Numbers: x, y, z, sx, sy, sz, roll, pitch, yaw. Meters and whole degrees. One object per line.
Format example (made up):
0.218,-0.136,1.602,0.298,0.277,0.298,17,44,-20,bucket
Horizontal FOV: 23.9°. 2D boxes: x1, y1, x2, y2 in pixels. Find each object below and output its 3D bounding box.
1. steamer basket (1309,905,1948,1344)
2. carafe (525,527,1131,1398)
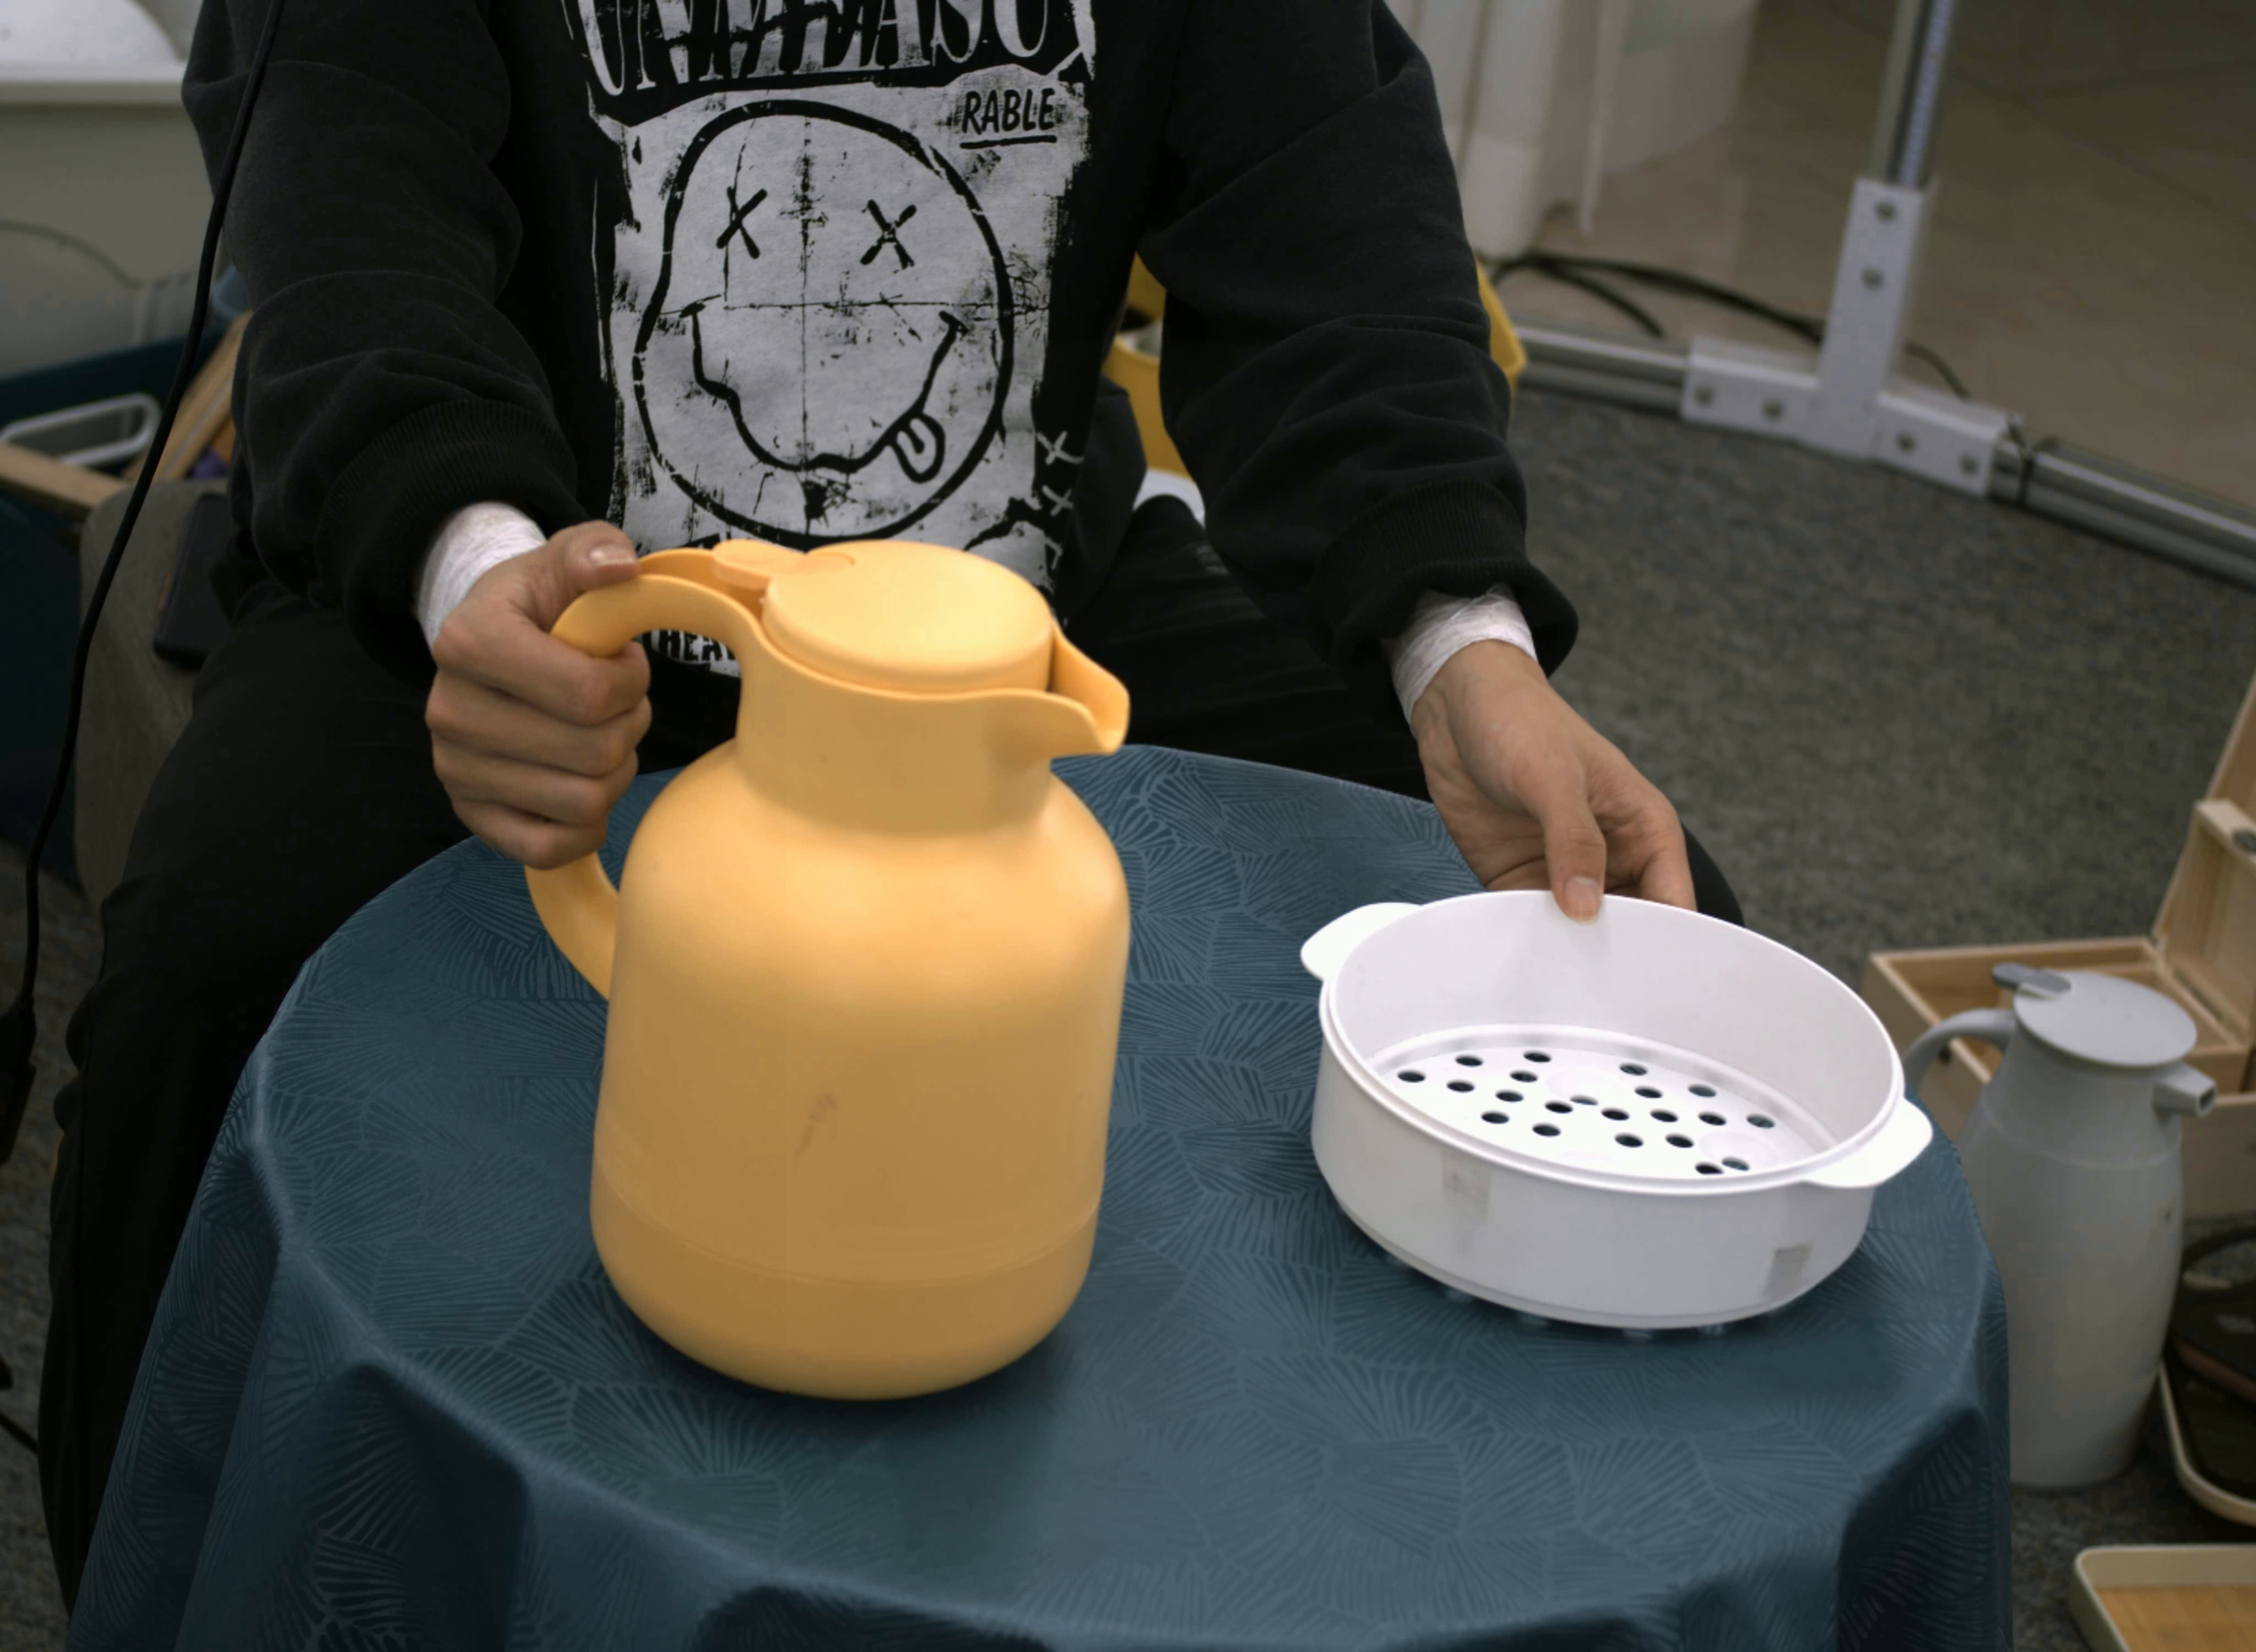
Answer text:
0.165,0.102,1.818,0.232,0.069,0.201,22,31,28,steamer basket
-0.099,0.032,1.673,0.203,0.260,0.163,21,27,21,carafe
